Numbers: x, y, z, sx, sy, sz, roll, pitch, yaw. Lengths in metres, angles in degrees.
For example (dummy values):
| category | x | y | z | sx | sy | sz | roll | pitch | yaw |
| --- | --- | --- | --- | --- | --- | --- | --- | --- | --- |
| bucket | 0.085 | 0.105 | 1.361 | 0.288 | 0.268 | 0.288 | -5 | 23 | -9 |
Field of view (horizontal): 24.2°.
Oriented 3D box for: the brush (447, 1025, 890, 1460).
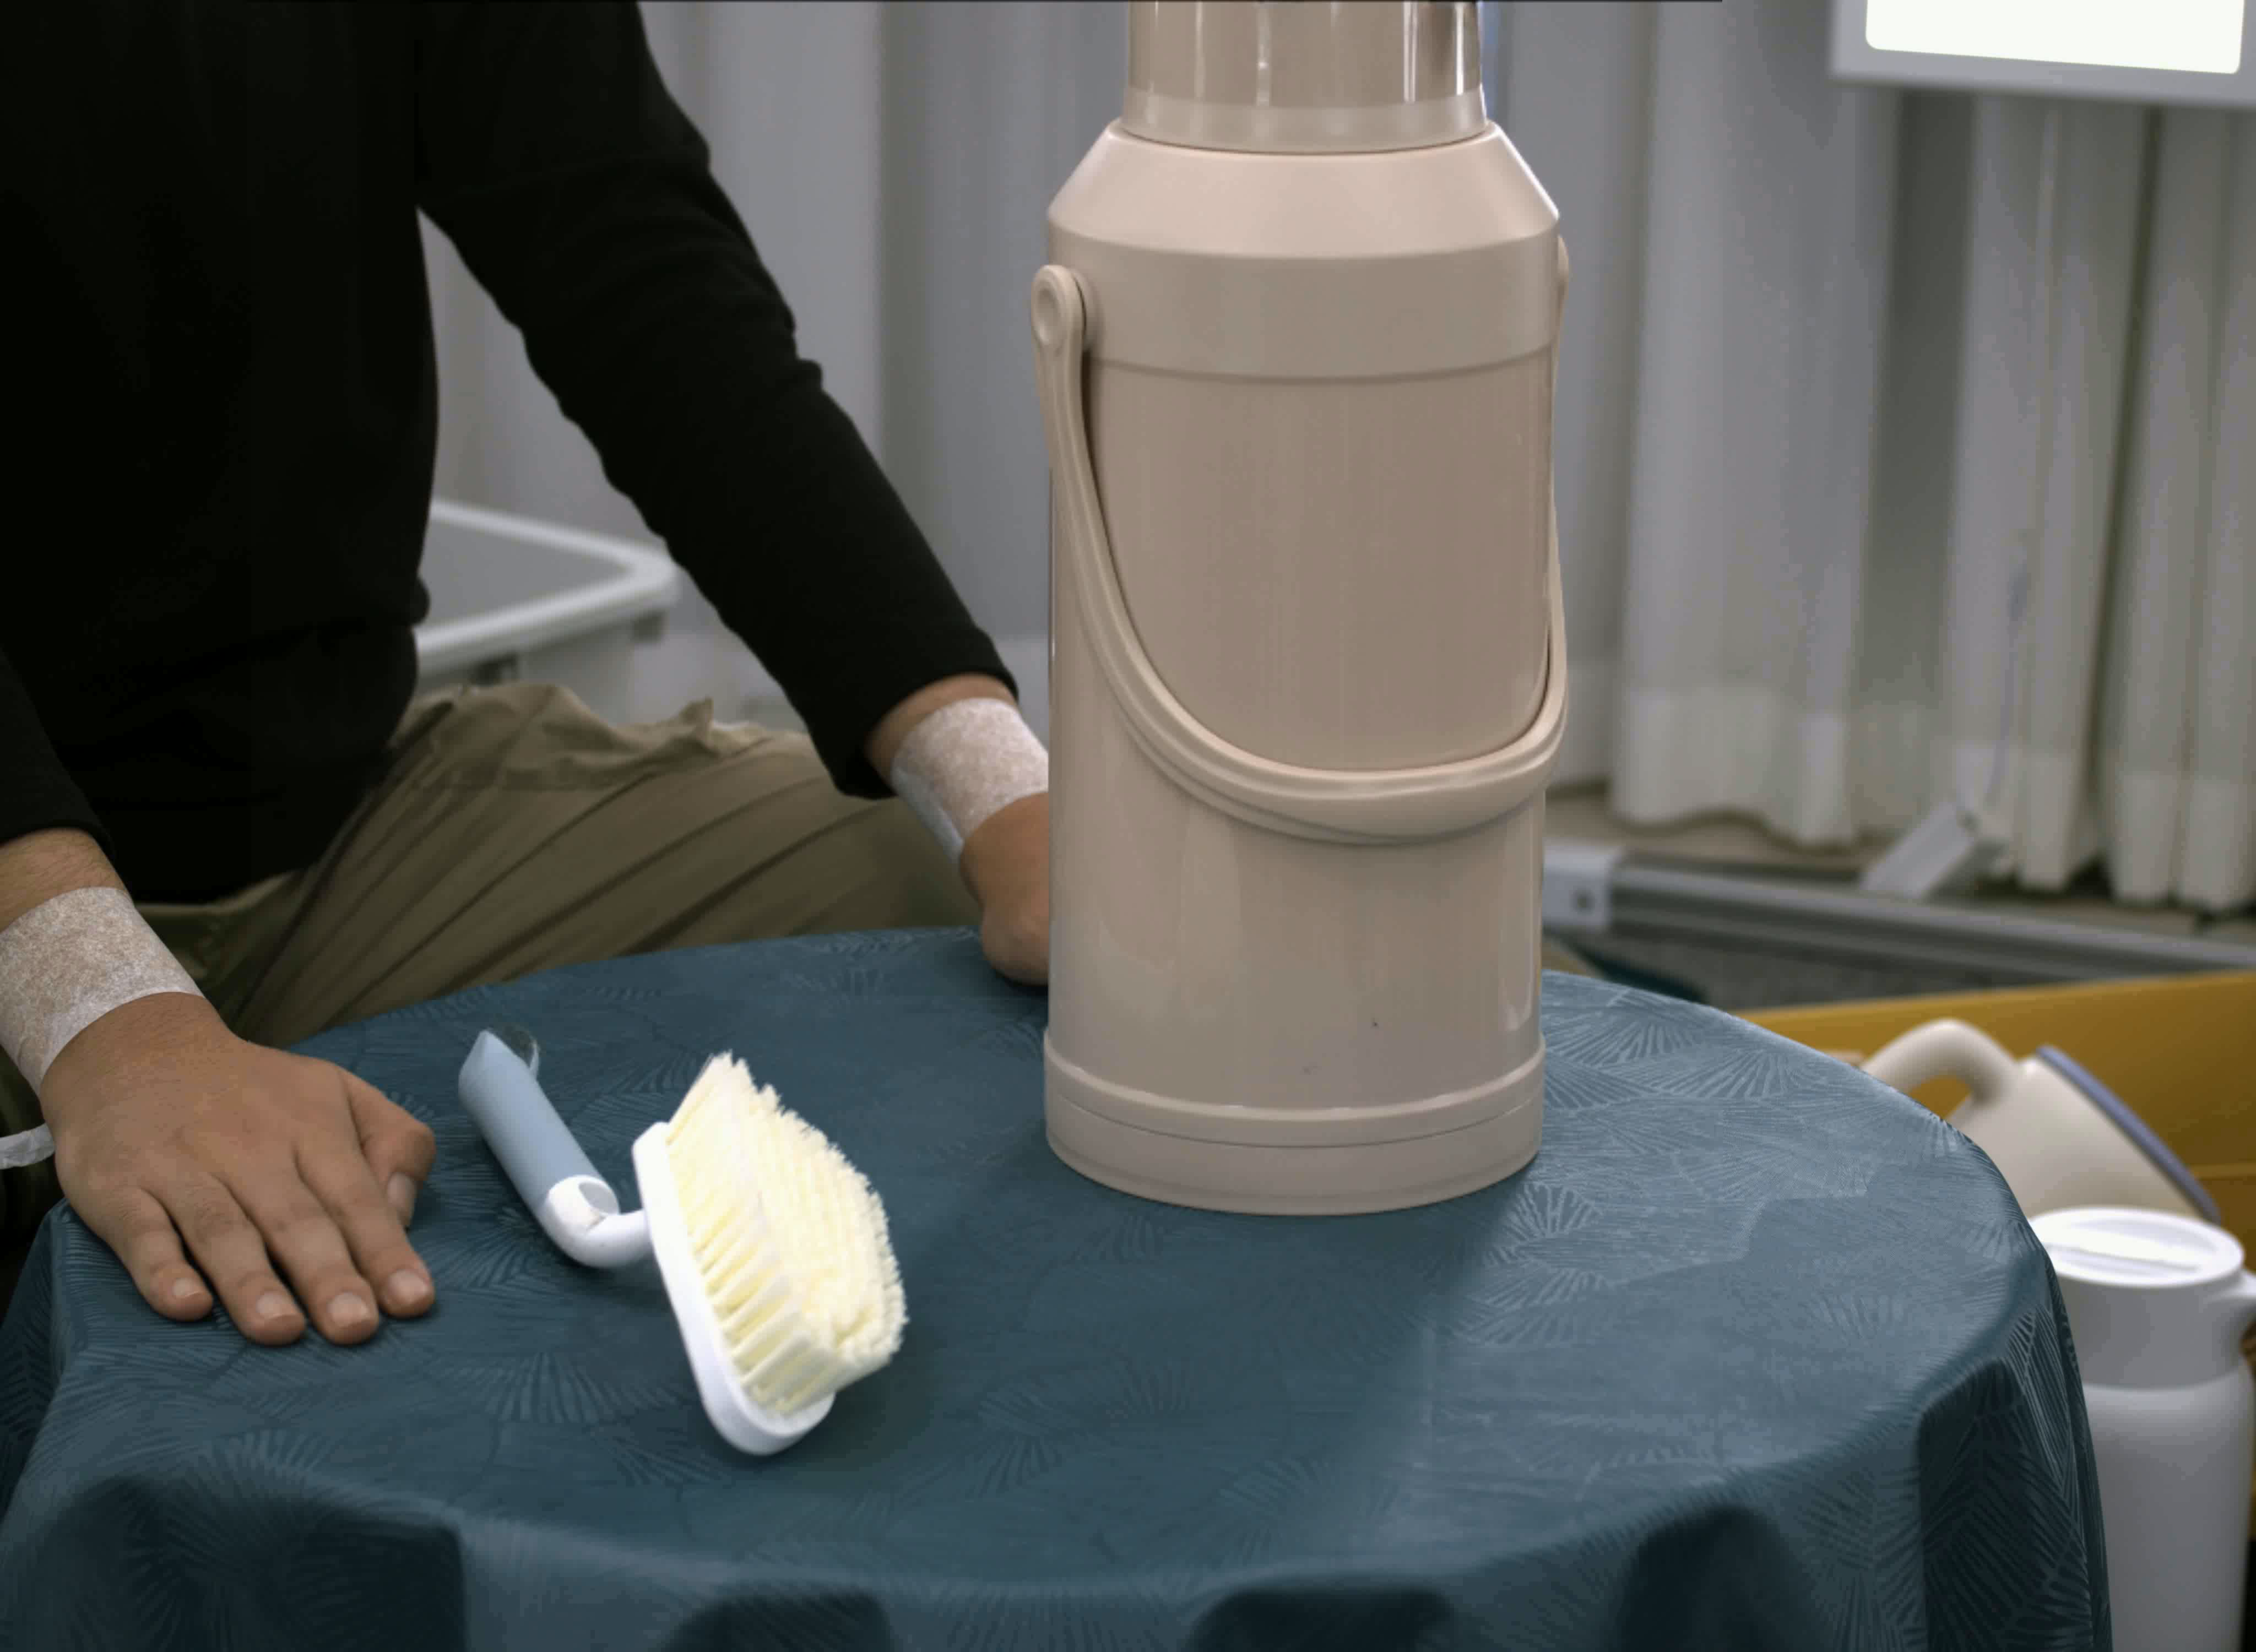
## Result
| category | x | y | z | sx | sy | sz | roll | pitch | yaw |
| --- | --- | --- | --- | --- | --- | --- | --- | --- | --- |
| brush | -0.134 | 0.091 | 1.541 | 0.084 | 0.084 | 0.322 | -10 | 20 | -16 |

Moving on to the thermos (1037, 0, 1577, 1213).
| category | x | y | z | sx | sy | sz | roll | pitch | yaw |
| --- | --- | --- | --- | --- | --- | --- | --- | --- | --- |
| thermos | 0.050 | -0.097 | 1.632 | 0.176 | 0.410 | 0.204 | -10 | 19 | -27 |
